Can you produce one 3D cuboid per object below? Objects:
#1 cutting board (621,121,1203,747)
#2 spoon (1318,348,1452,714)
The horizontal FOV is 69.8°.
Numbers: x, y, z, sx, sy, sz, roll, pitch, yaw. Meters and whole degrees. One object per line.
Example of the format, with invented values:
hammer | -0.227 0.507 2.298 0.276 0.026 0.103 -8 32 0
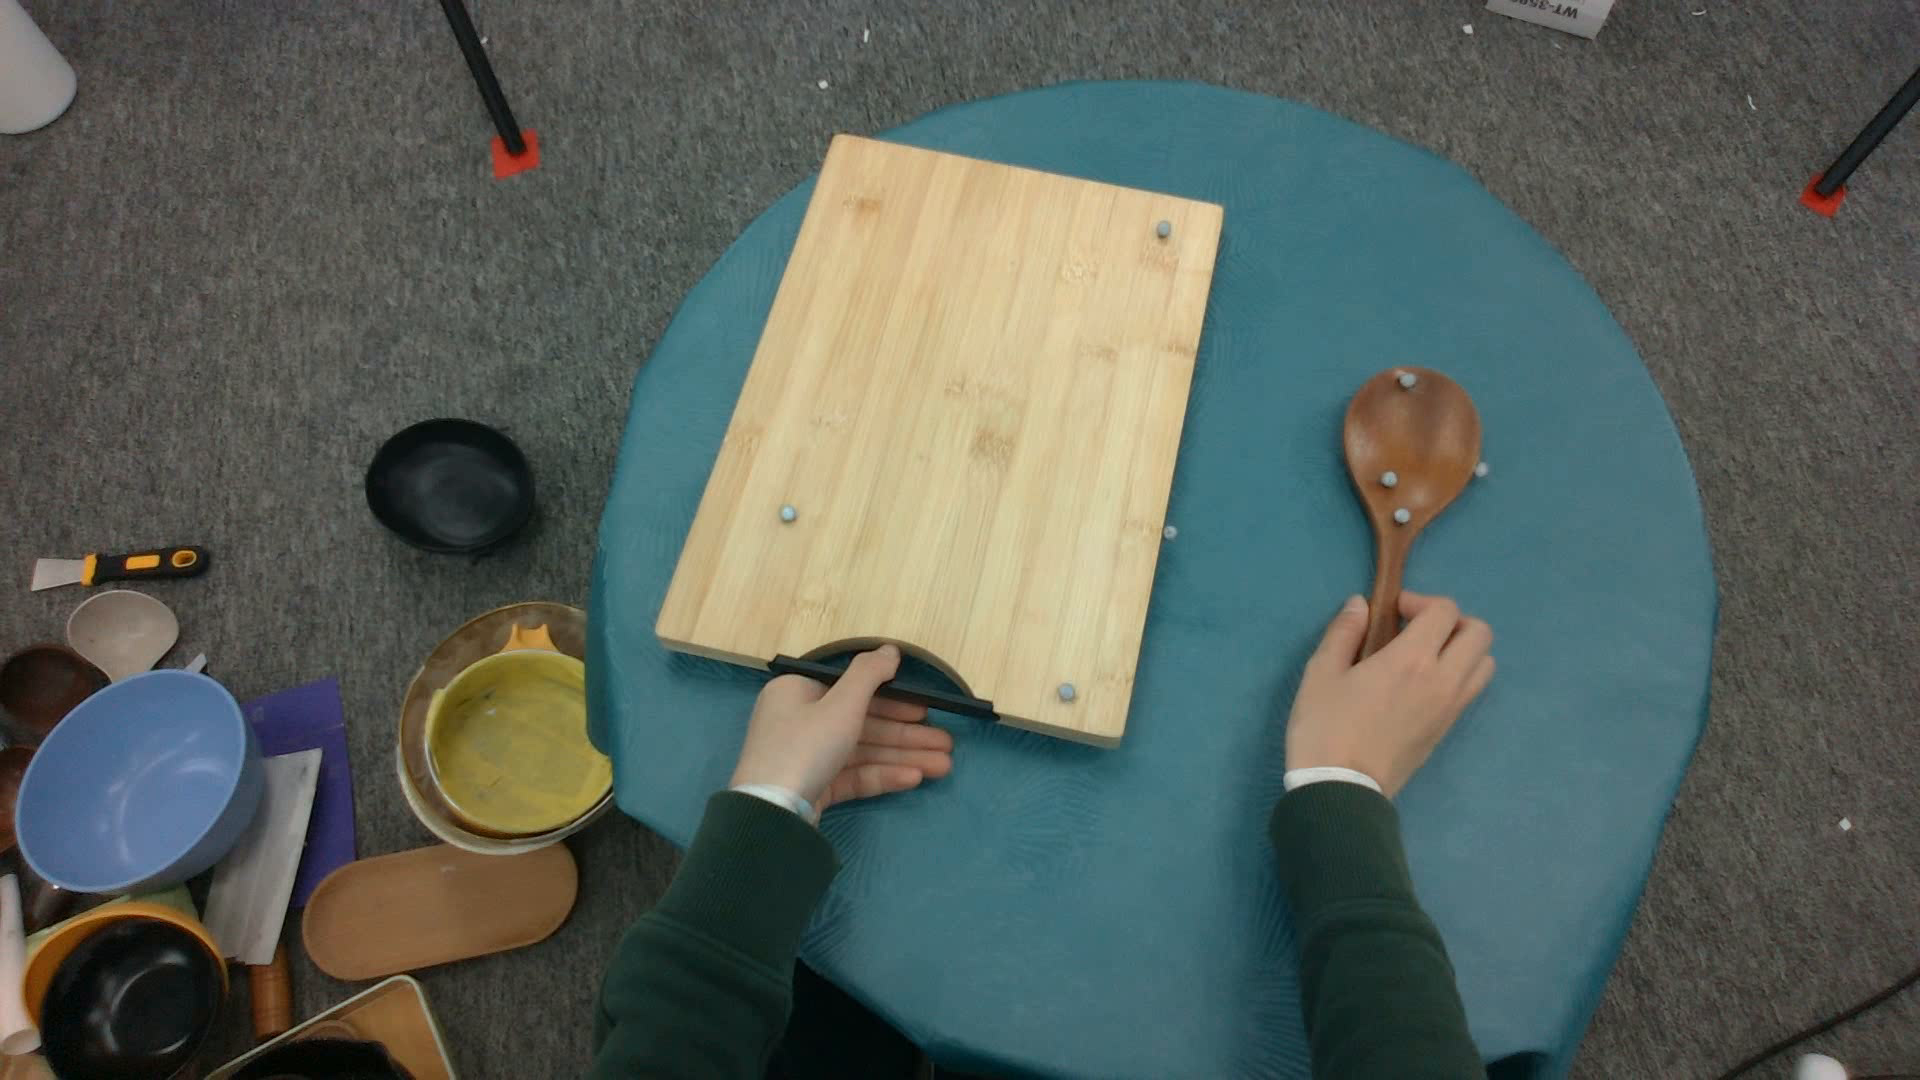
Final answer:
cutting board | -0.012 -0.075 0.756 0.250 0.023 0.350 11 64 5
spoon | 0.219 -0.009 0.738 0.075 0.017 0.216 14 66 2
